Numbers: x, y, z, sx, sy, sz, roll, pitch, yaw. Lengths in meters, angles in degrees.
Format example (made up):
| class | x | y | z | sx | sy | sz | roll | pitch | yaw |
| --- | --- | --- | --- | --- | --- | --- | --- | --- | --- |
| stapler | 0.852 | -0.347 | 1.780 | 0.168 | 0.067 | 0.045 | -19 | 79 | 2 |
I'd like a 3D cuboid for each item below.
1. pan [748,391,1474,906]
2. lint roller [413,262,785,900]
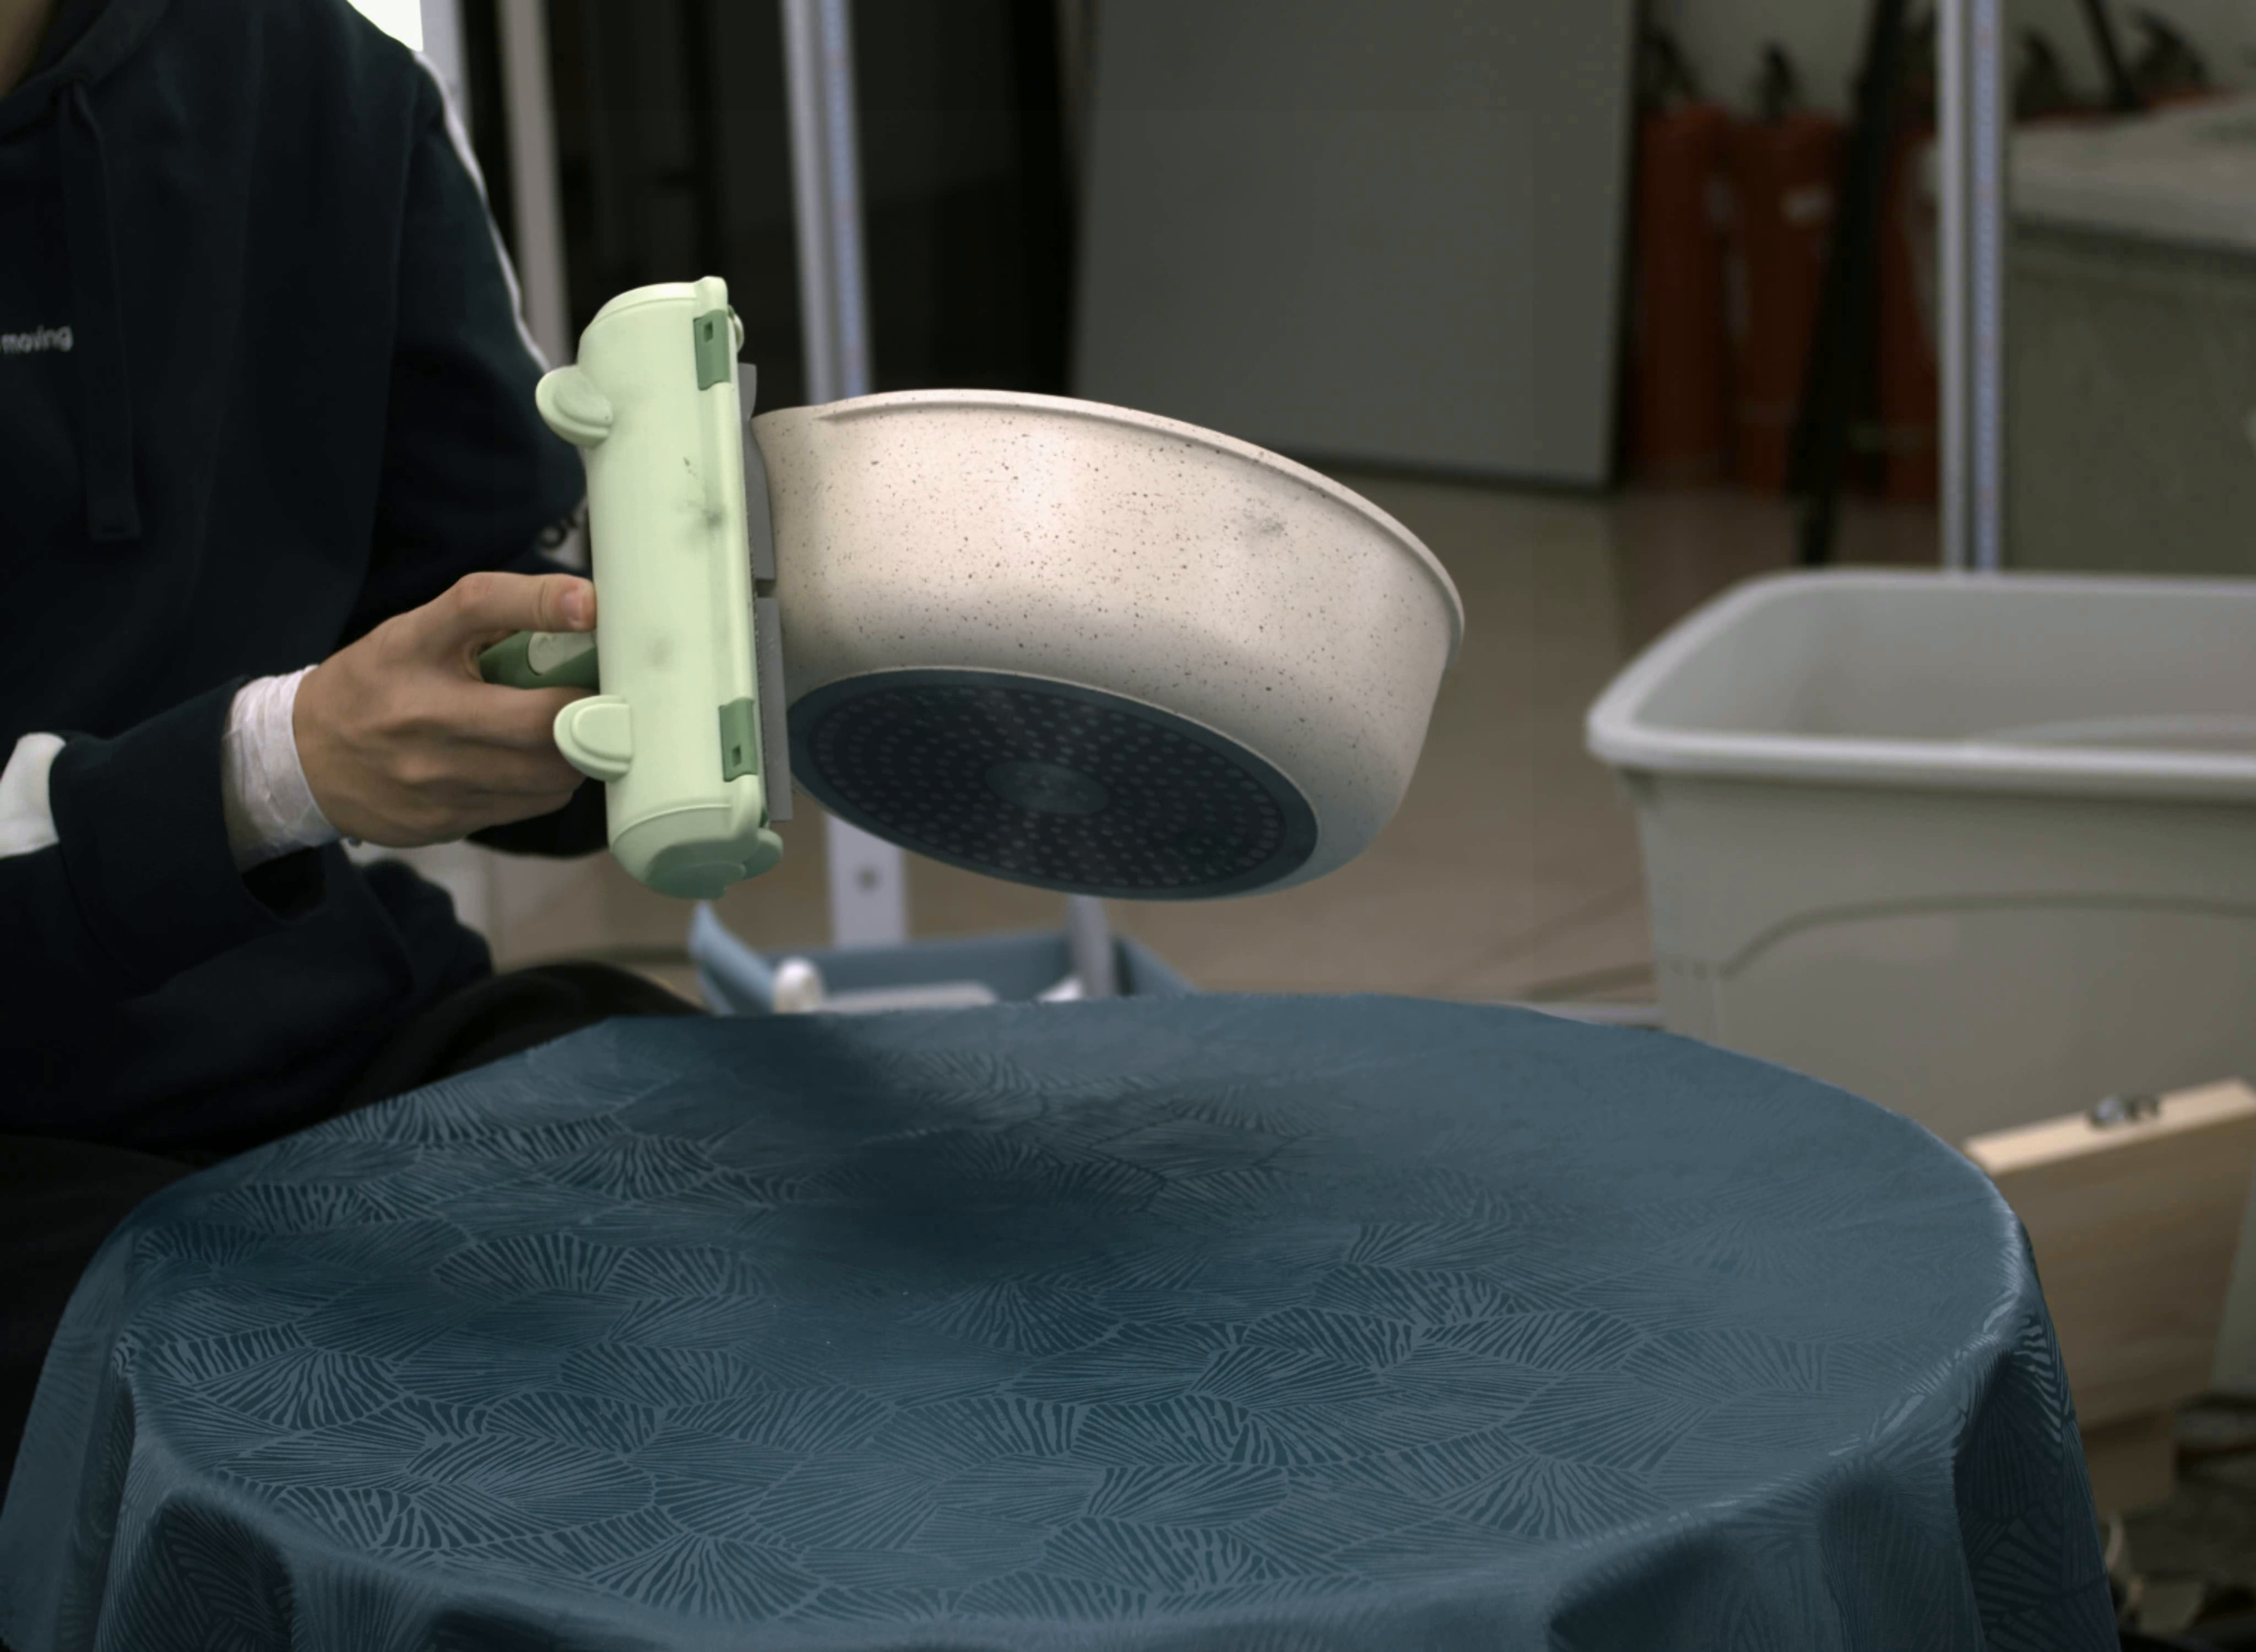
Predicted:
| class | x | y | z | sx | sy | sz | roll | pitch | yaw |
| --- | --- | --- | --- | --- | --- | --- | --- | --- | --- |
| pan | -0.058 | -0.032 | 1.852 | 0.258 | 0.103 | 0.439 | 19 | -23 | -24 |
| lint roller | -0.186 | -0.061 | 1.723 | 0.184 | 0.201 | 0.080 | -24 | -30 | 36 |
